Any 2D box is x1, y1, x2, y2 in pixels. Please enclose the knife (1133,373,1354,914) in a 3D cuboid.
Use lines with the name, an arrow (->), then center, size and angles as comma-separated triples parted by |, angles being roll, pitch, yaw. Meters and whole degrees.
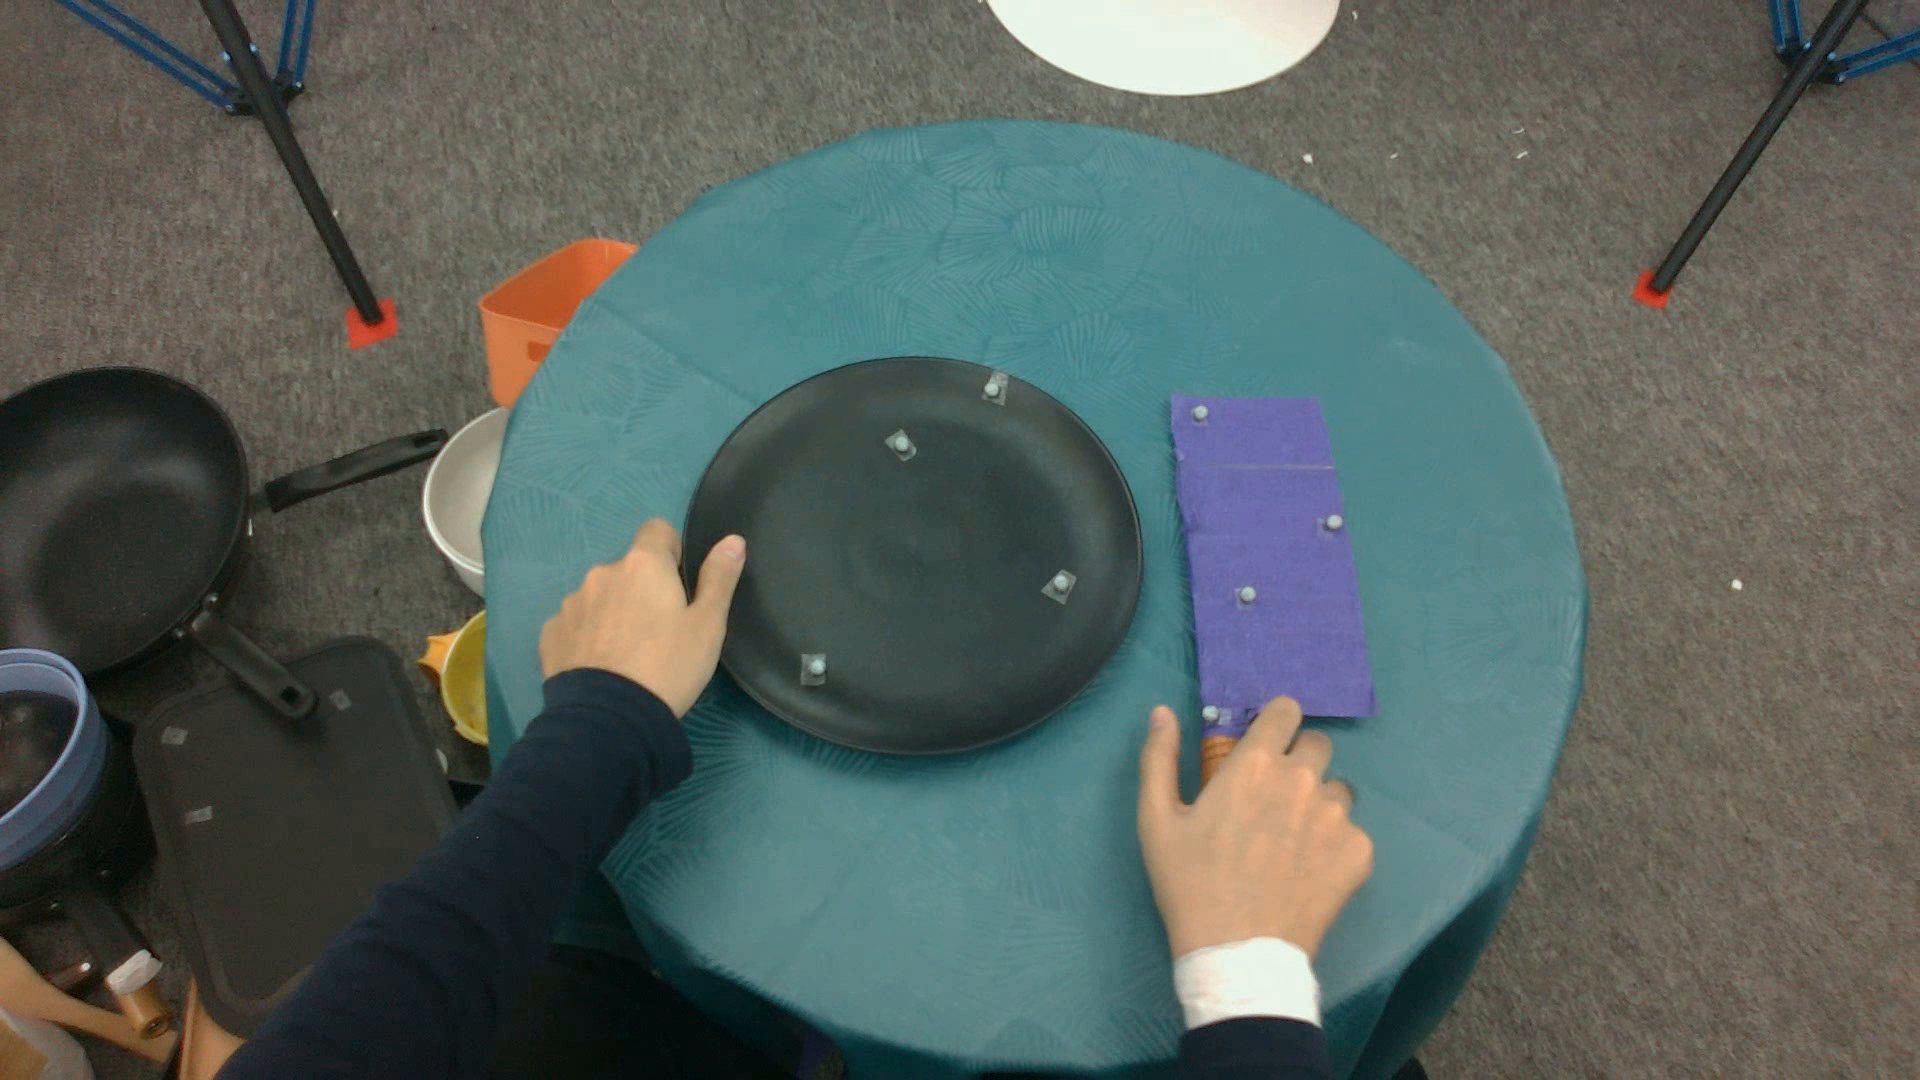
knife -> 0.155, 0.036, 0.720 | 0.104, 0.032, 0.316 | 1, 58, -4

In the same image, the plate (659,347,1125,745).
plate -> -0.034, -0.001, 0.730 | 0.244, 0.023, 0.245 | 2, 59, -3
